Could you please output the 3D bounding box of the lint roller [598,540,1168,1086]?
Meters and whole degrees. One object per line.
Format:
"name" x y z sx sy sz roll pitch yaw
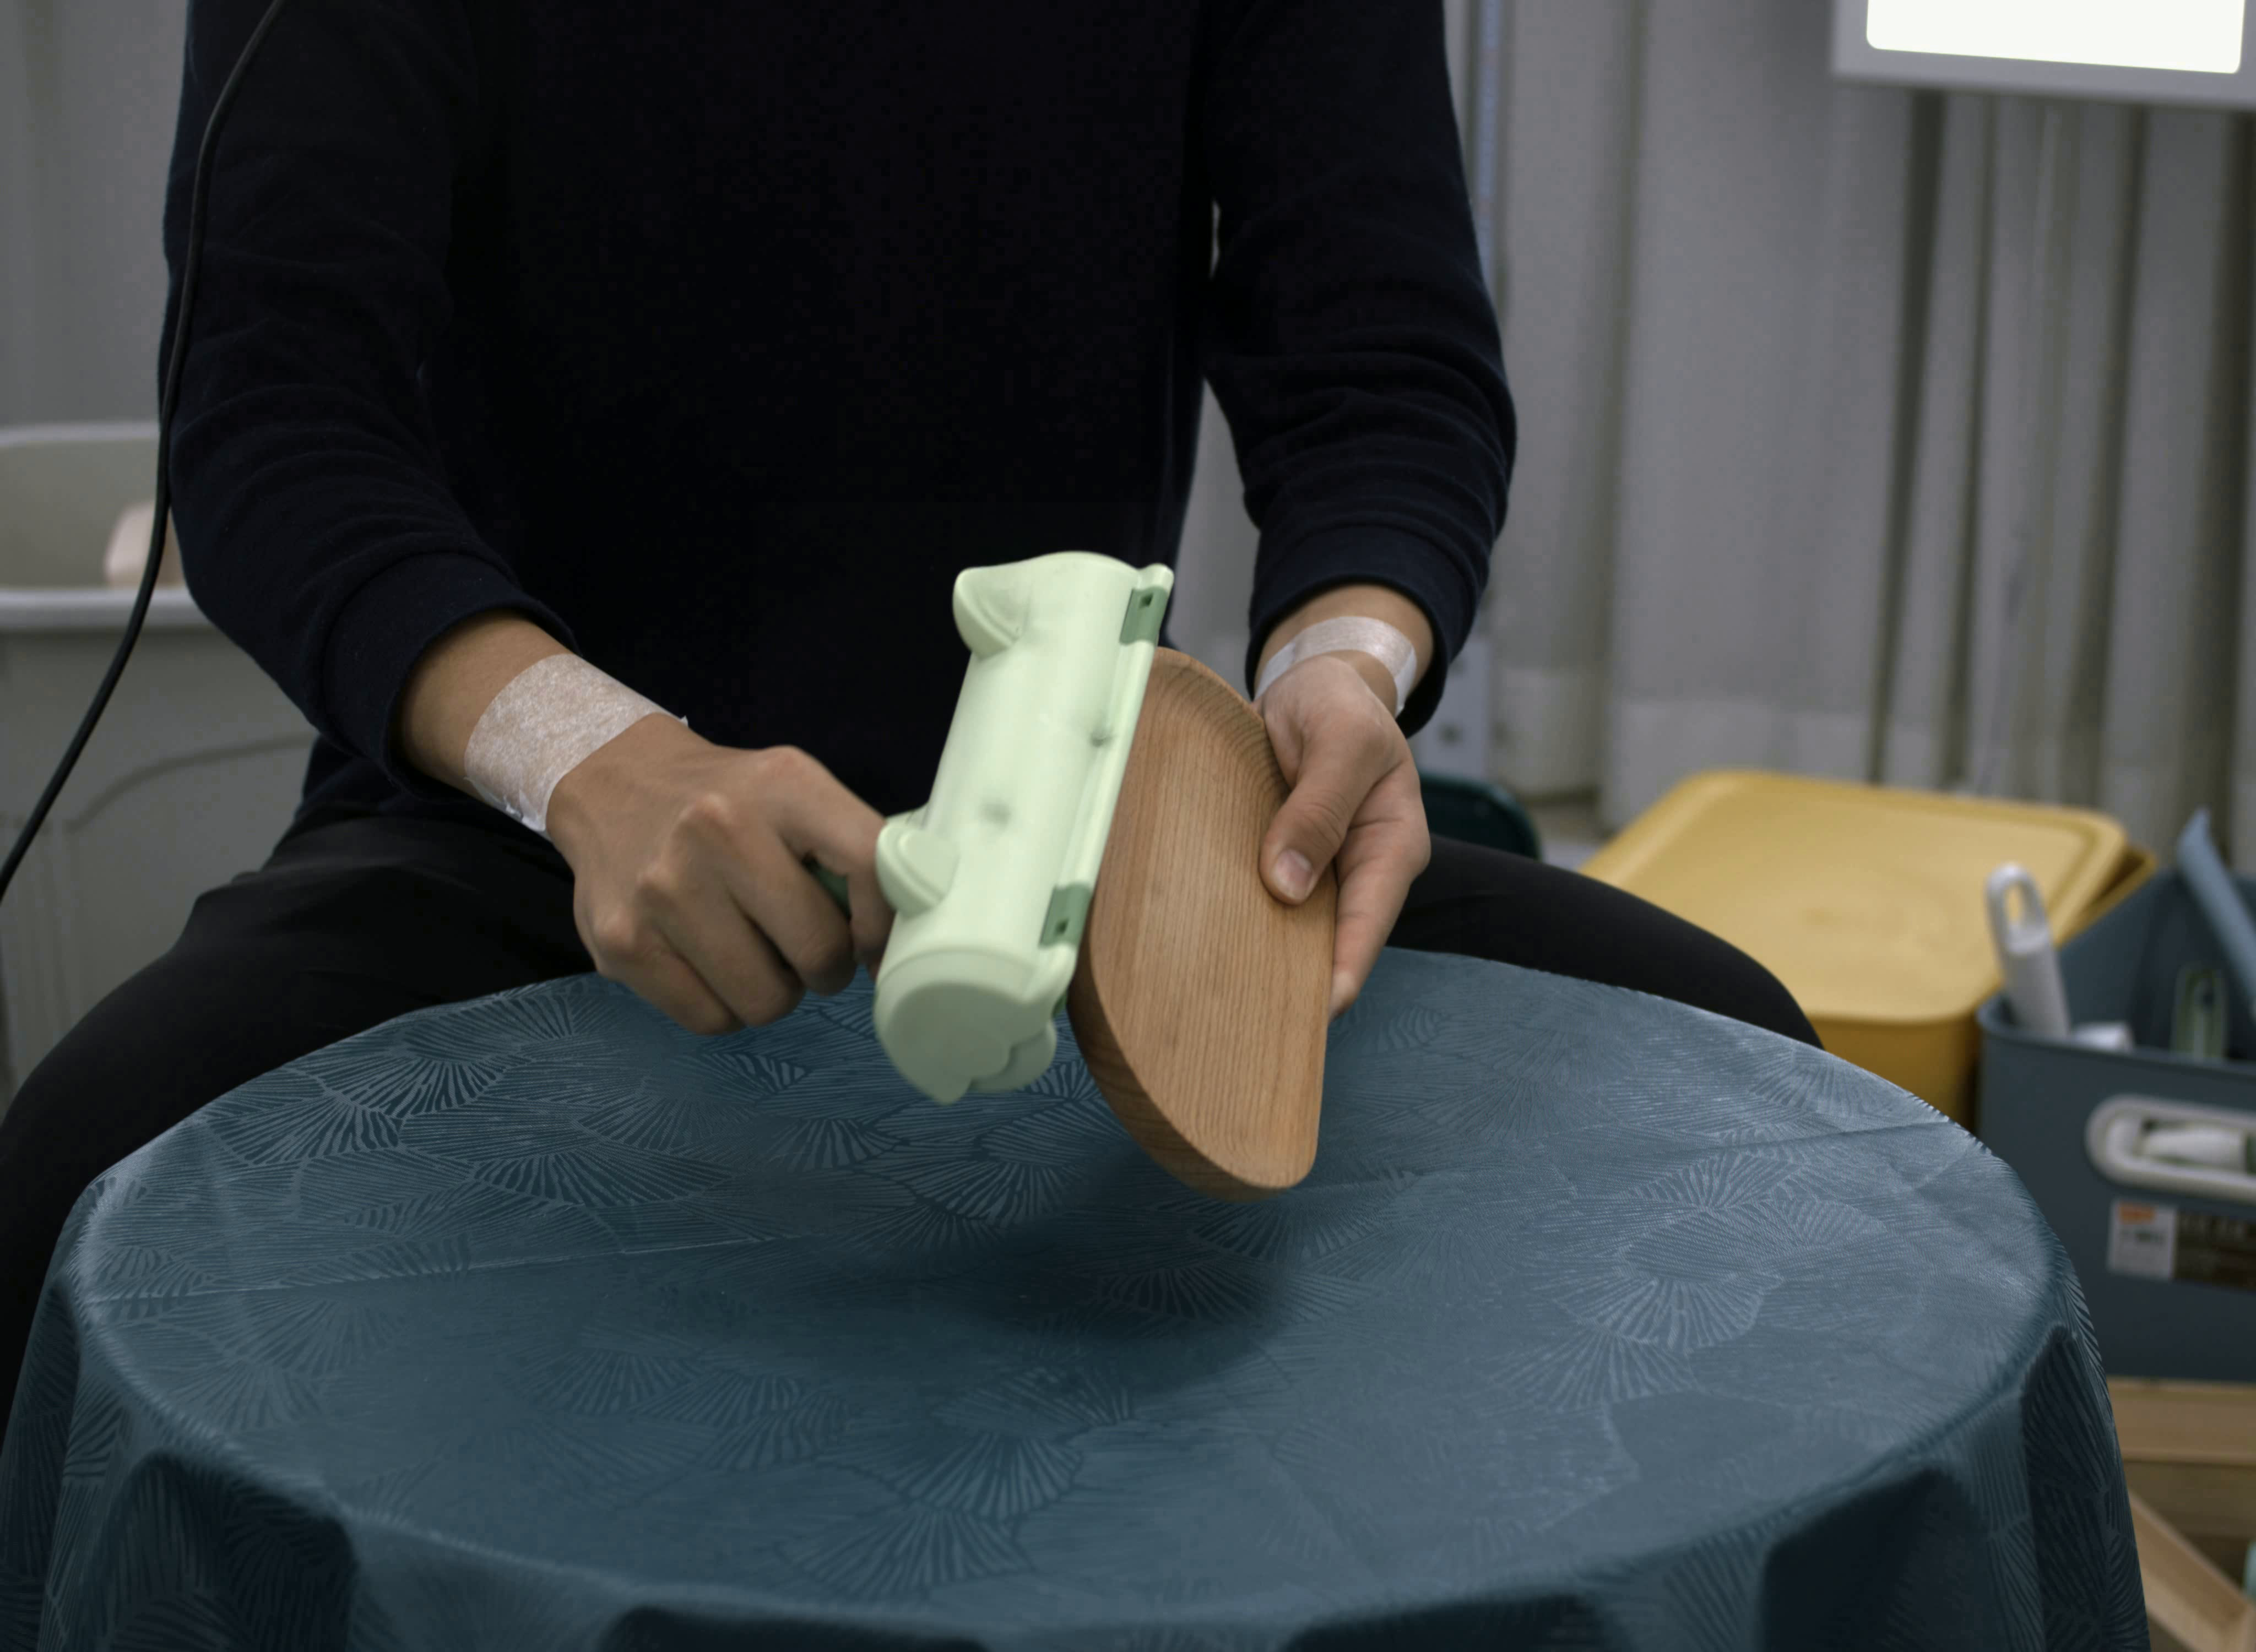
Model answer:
"lint roller" -0.085 -0.003 1.543 0.182 0.083 0.197 -10 37 19

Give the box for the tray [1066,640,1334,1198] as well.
"tray" 0.022 0.026 1.576 0.020 0.103 0.229 -33 26 23
